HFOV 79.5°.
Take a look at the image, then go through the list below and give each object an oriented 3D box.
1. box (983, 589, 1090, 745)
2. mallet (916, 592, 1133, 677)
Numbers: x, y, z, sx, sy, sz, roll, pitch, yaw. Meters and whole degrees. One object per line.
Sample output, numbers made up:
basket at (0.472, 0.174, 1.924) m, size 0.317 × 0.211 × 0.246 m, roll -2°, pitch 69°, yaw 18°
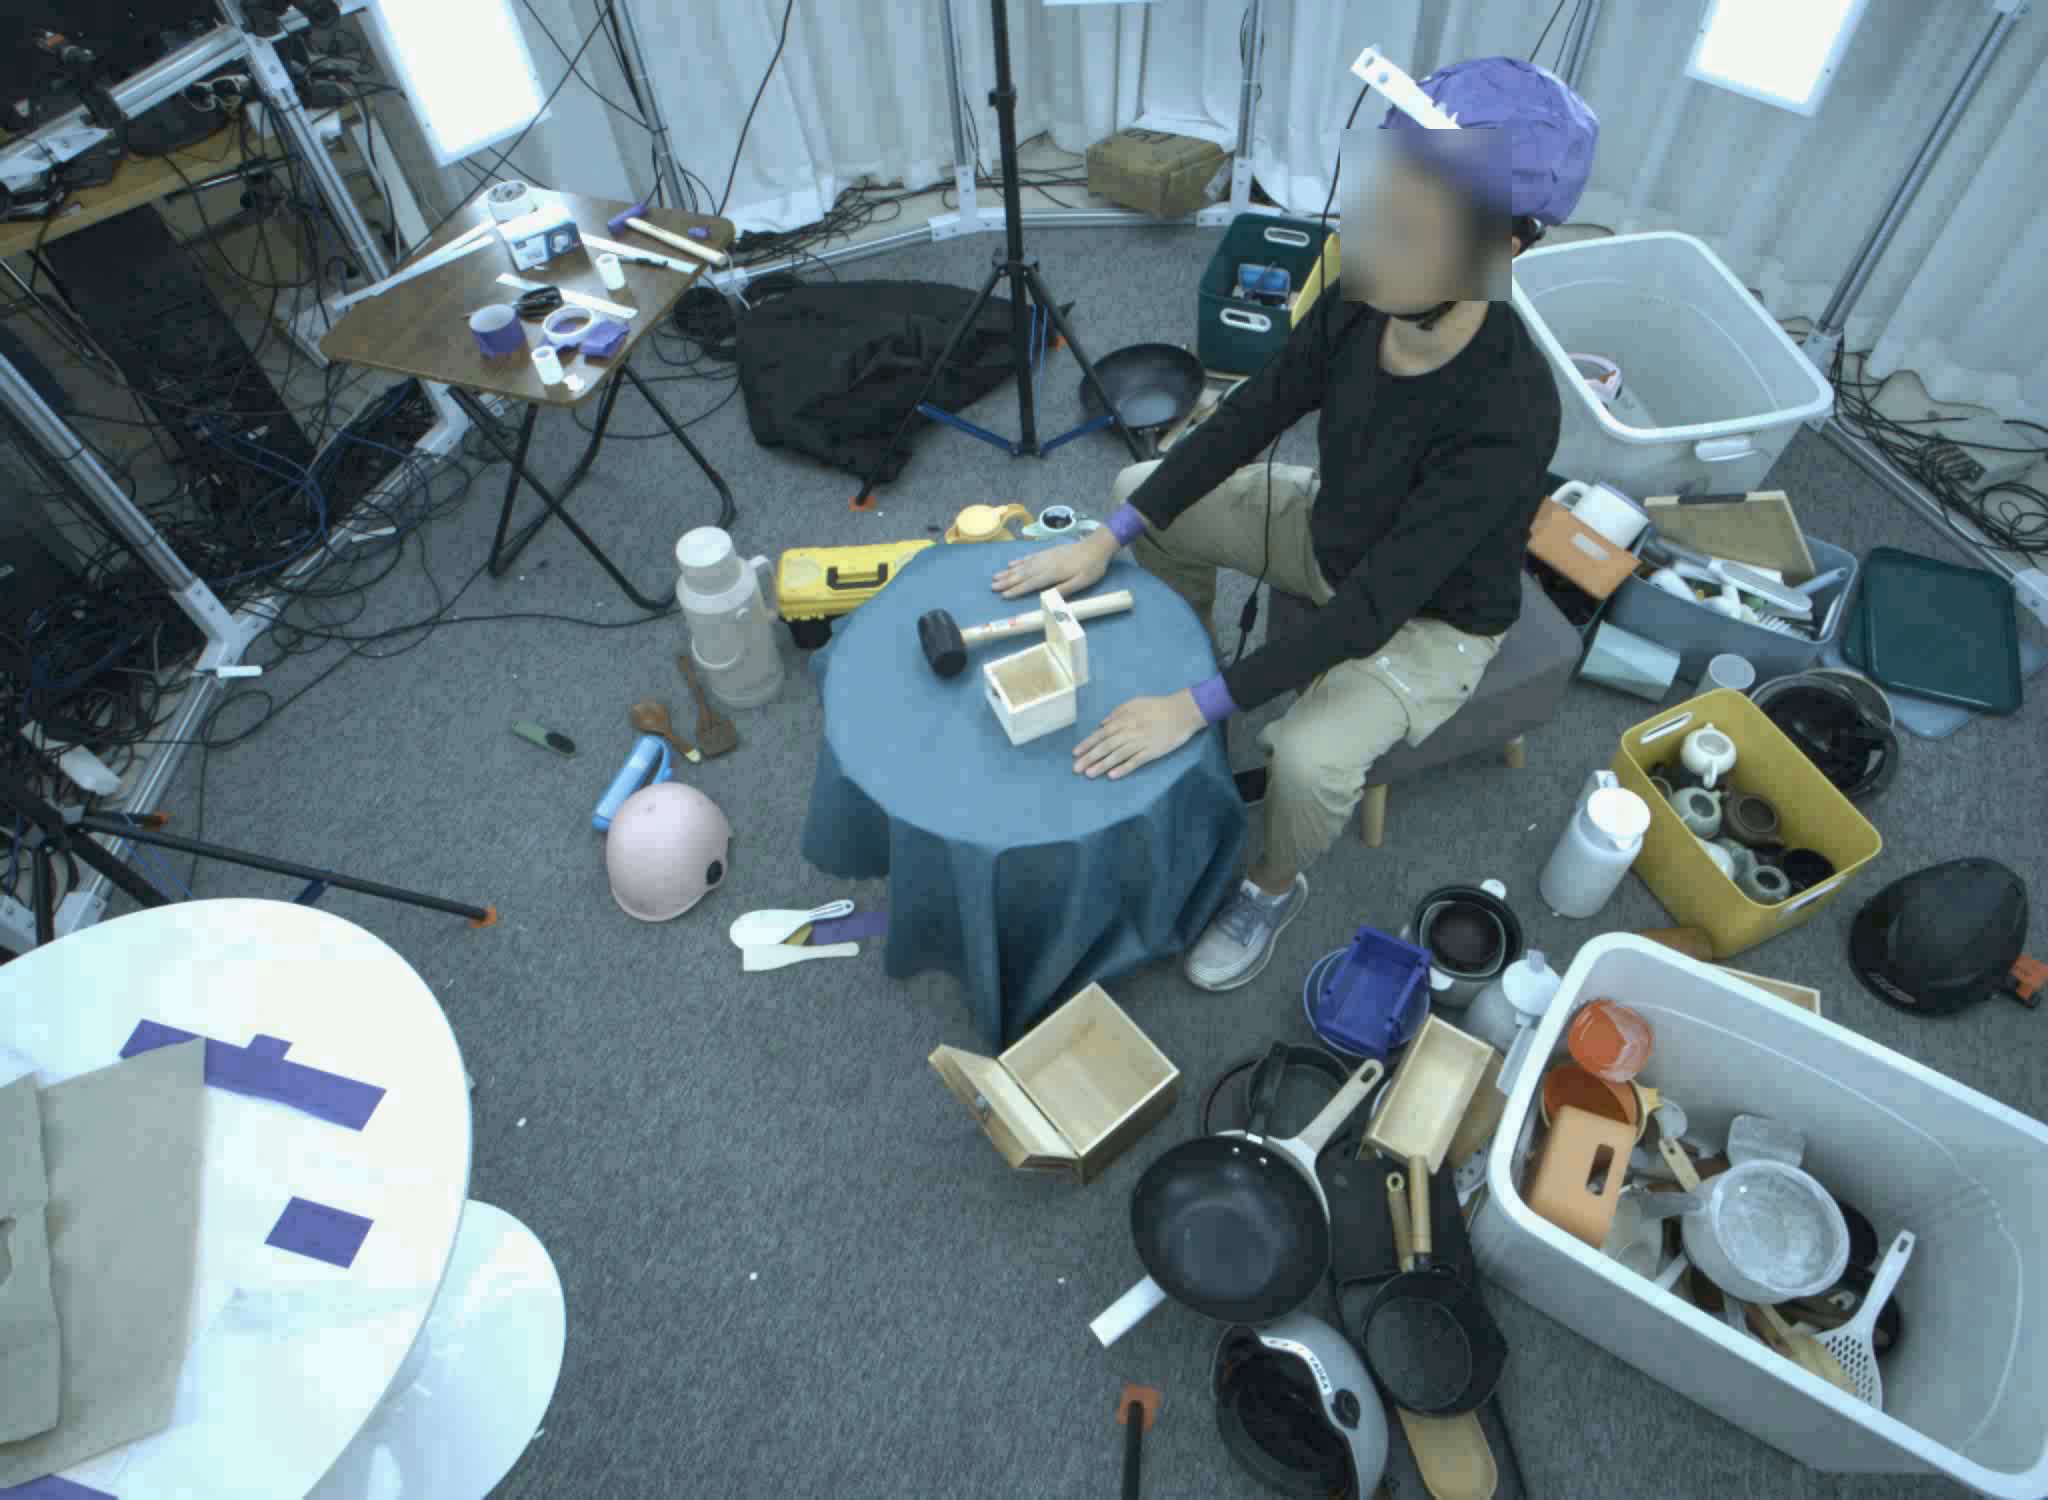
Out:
box at (0.015, -0.117, 1.755) m, size 0.135 × 0.186 × 0.101 m, roll -21°, pitch 57°, yaw -15°
mallet at (0.004, -0.201, 1.890) m, size 0.341 × 0.065 × 0.100 m, roll -15°, pitch 56°, yaw -9°
